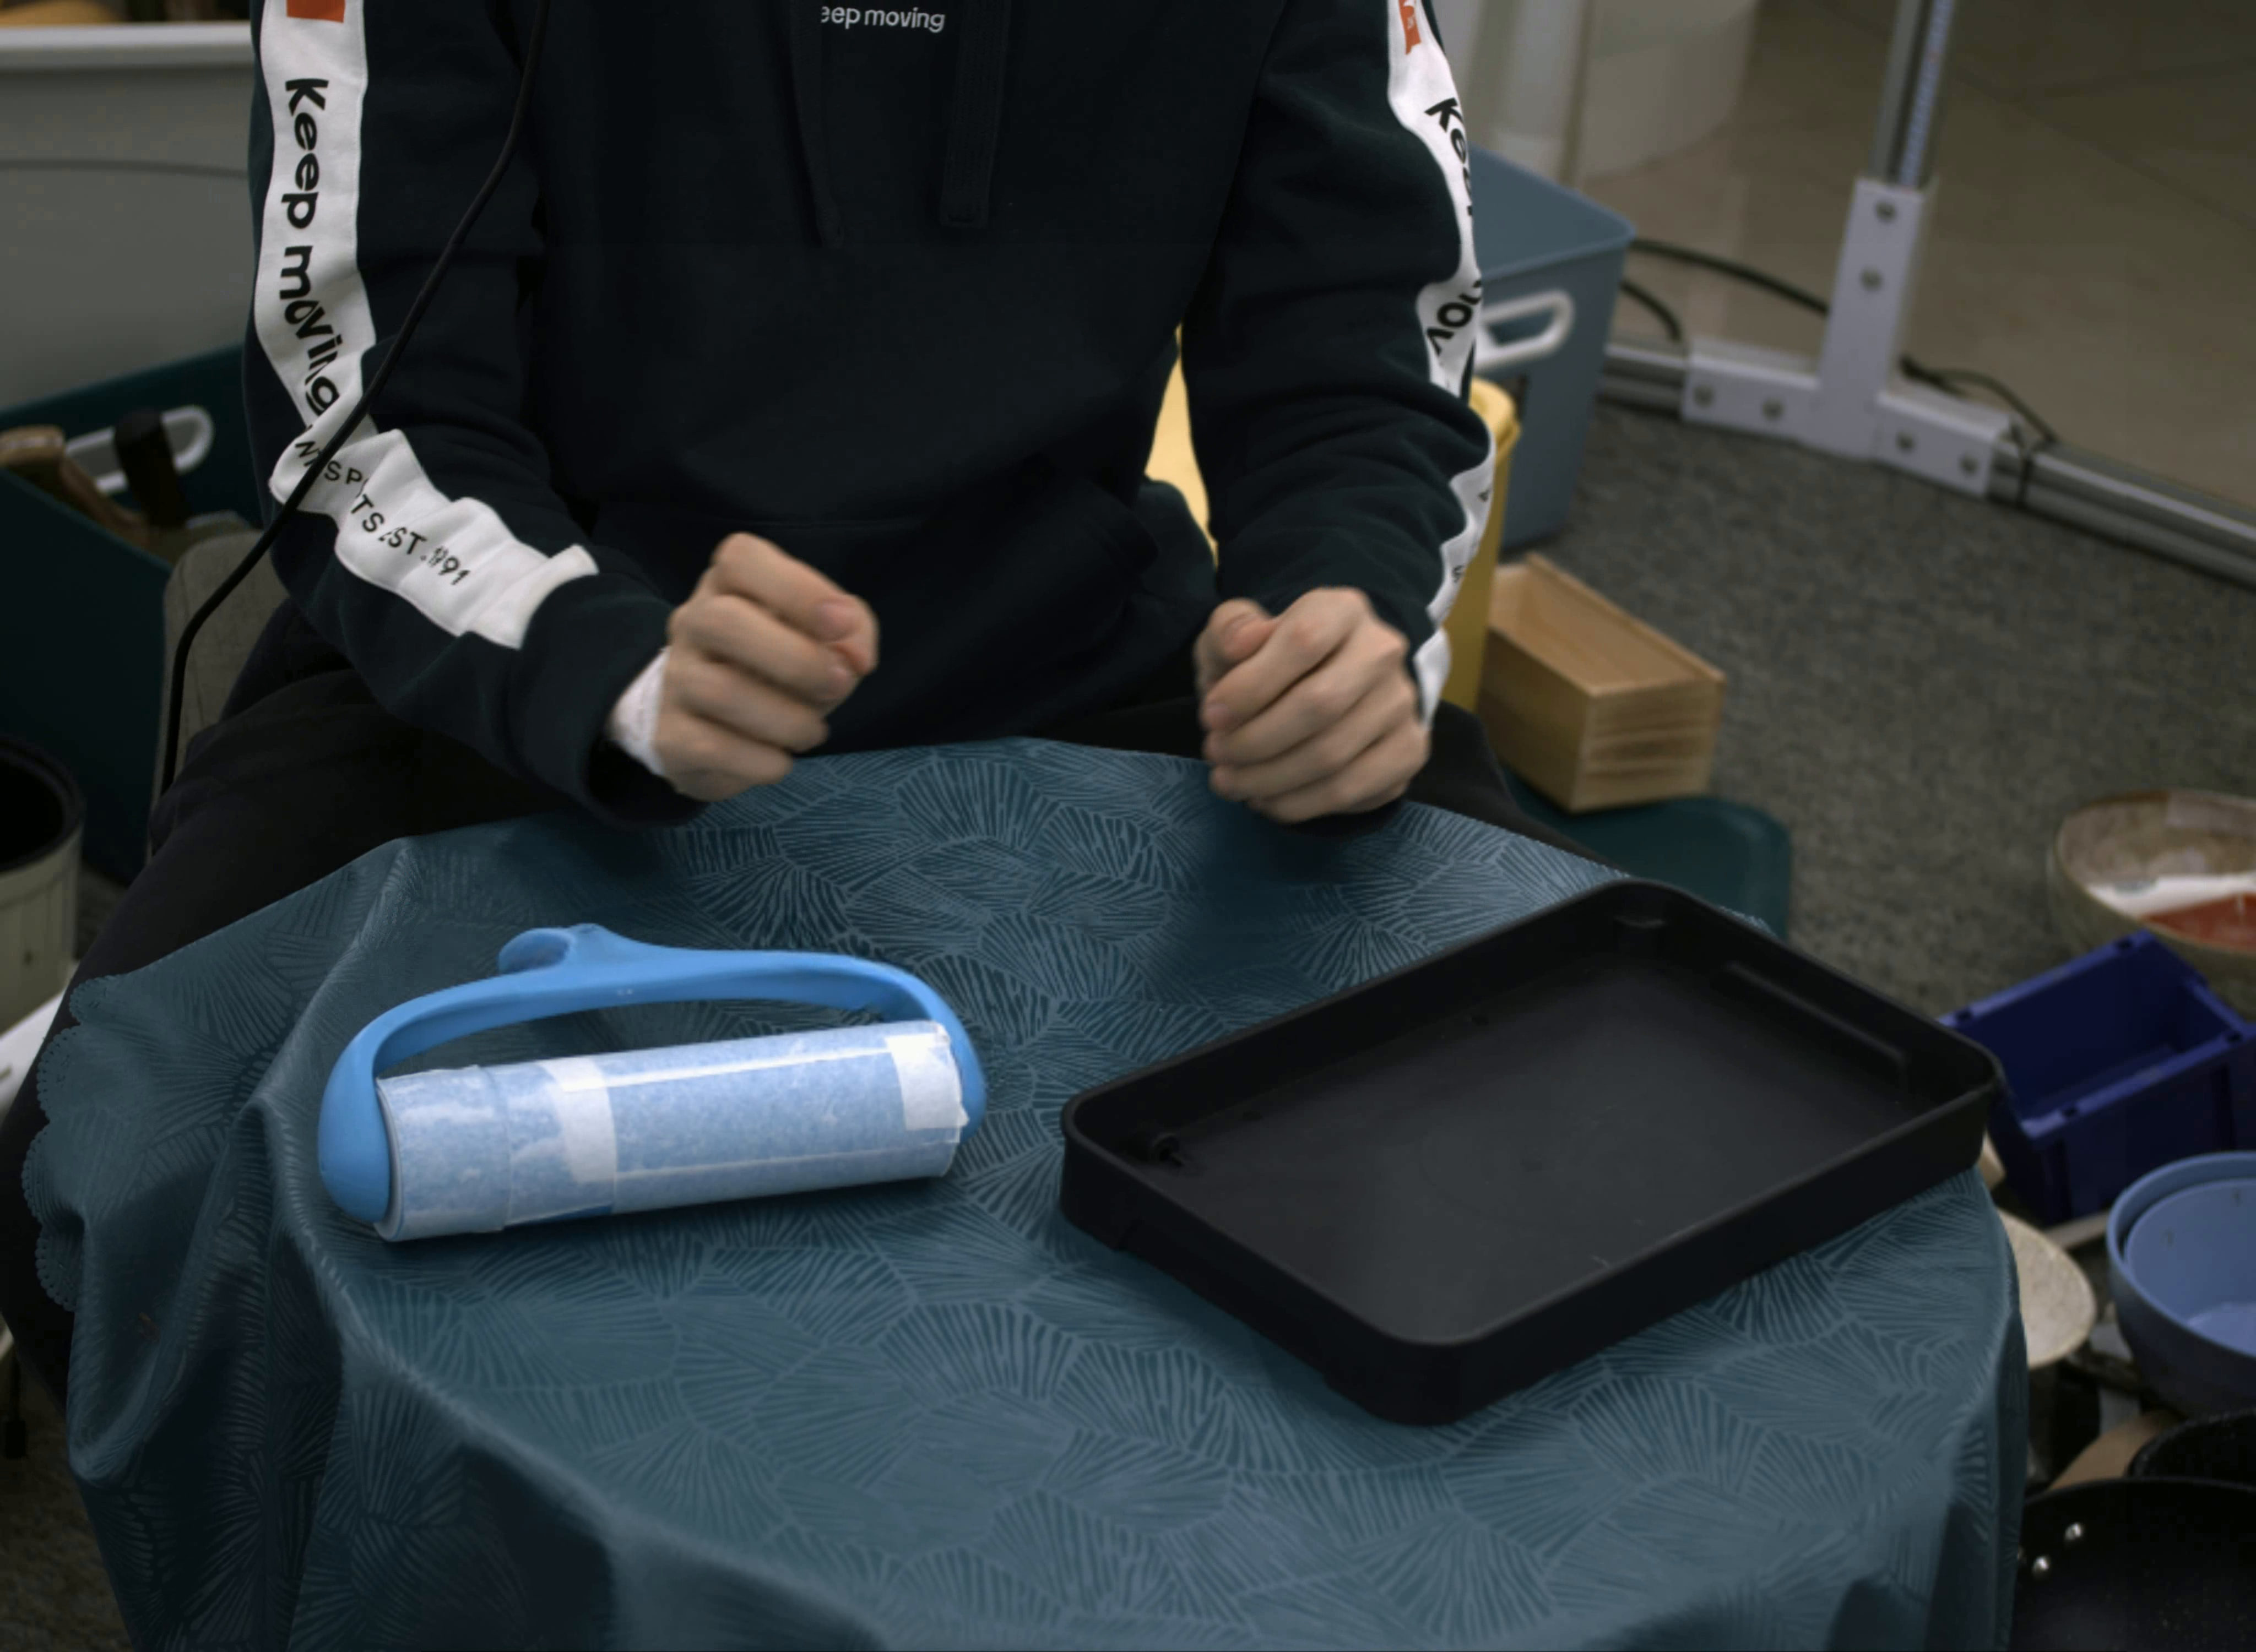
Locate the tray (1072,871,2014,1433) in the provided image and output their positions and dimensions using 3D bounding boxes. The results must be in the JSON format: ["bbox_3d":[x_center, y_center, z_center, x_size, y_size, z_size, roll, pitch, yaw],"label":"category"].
[{"bbox_3d":[0.145,0.105,1.830,0.185,0.037,0.316,28,35,36],"label":"tray"}]

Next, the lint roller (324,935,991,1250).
[{"bbox_3d":[-0.177,0.072,1.798,0.227,0.067,0.182,-9,31,-23],"label":"lint roller"}]
